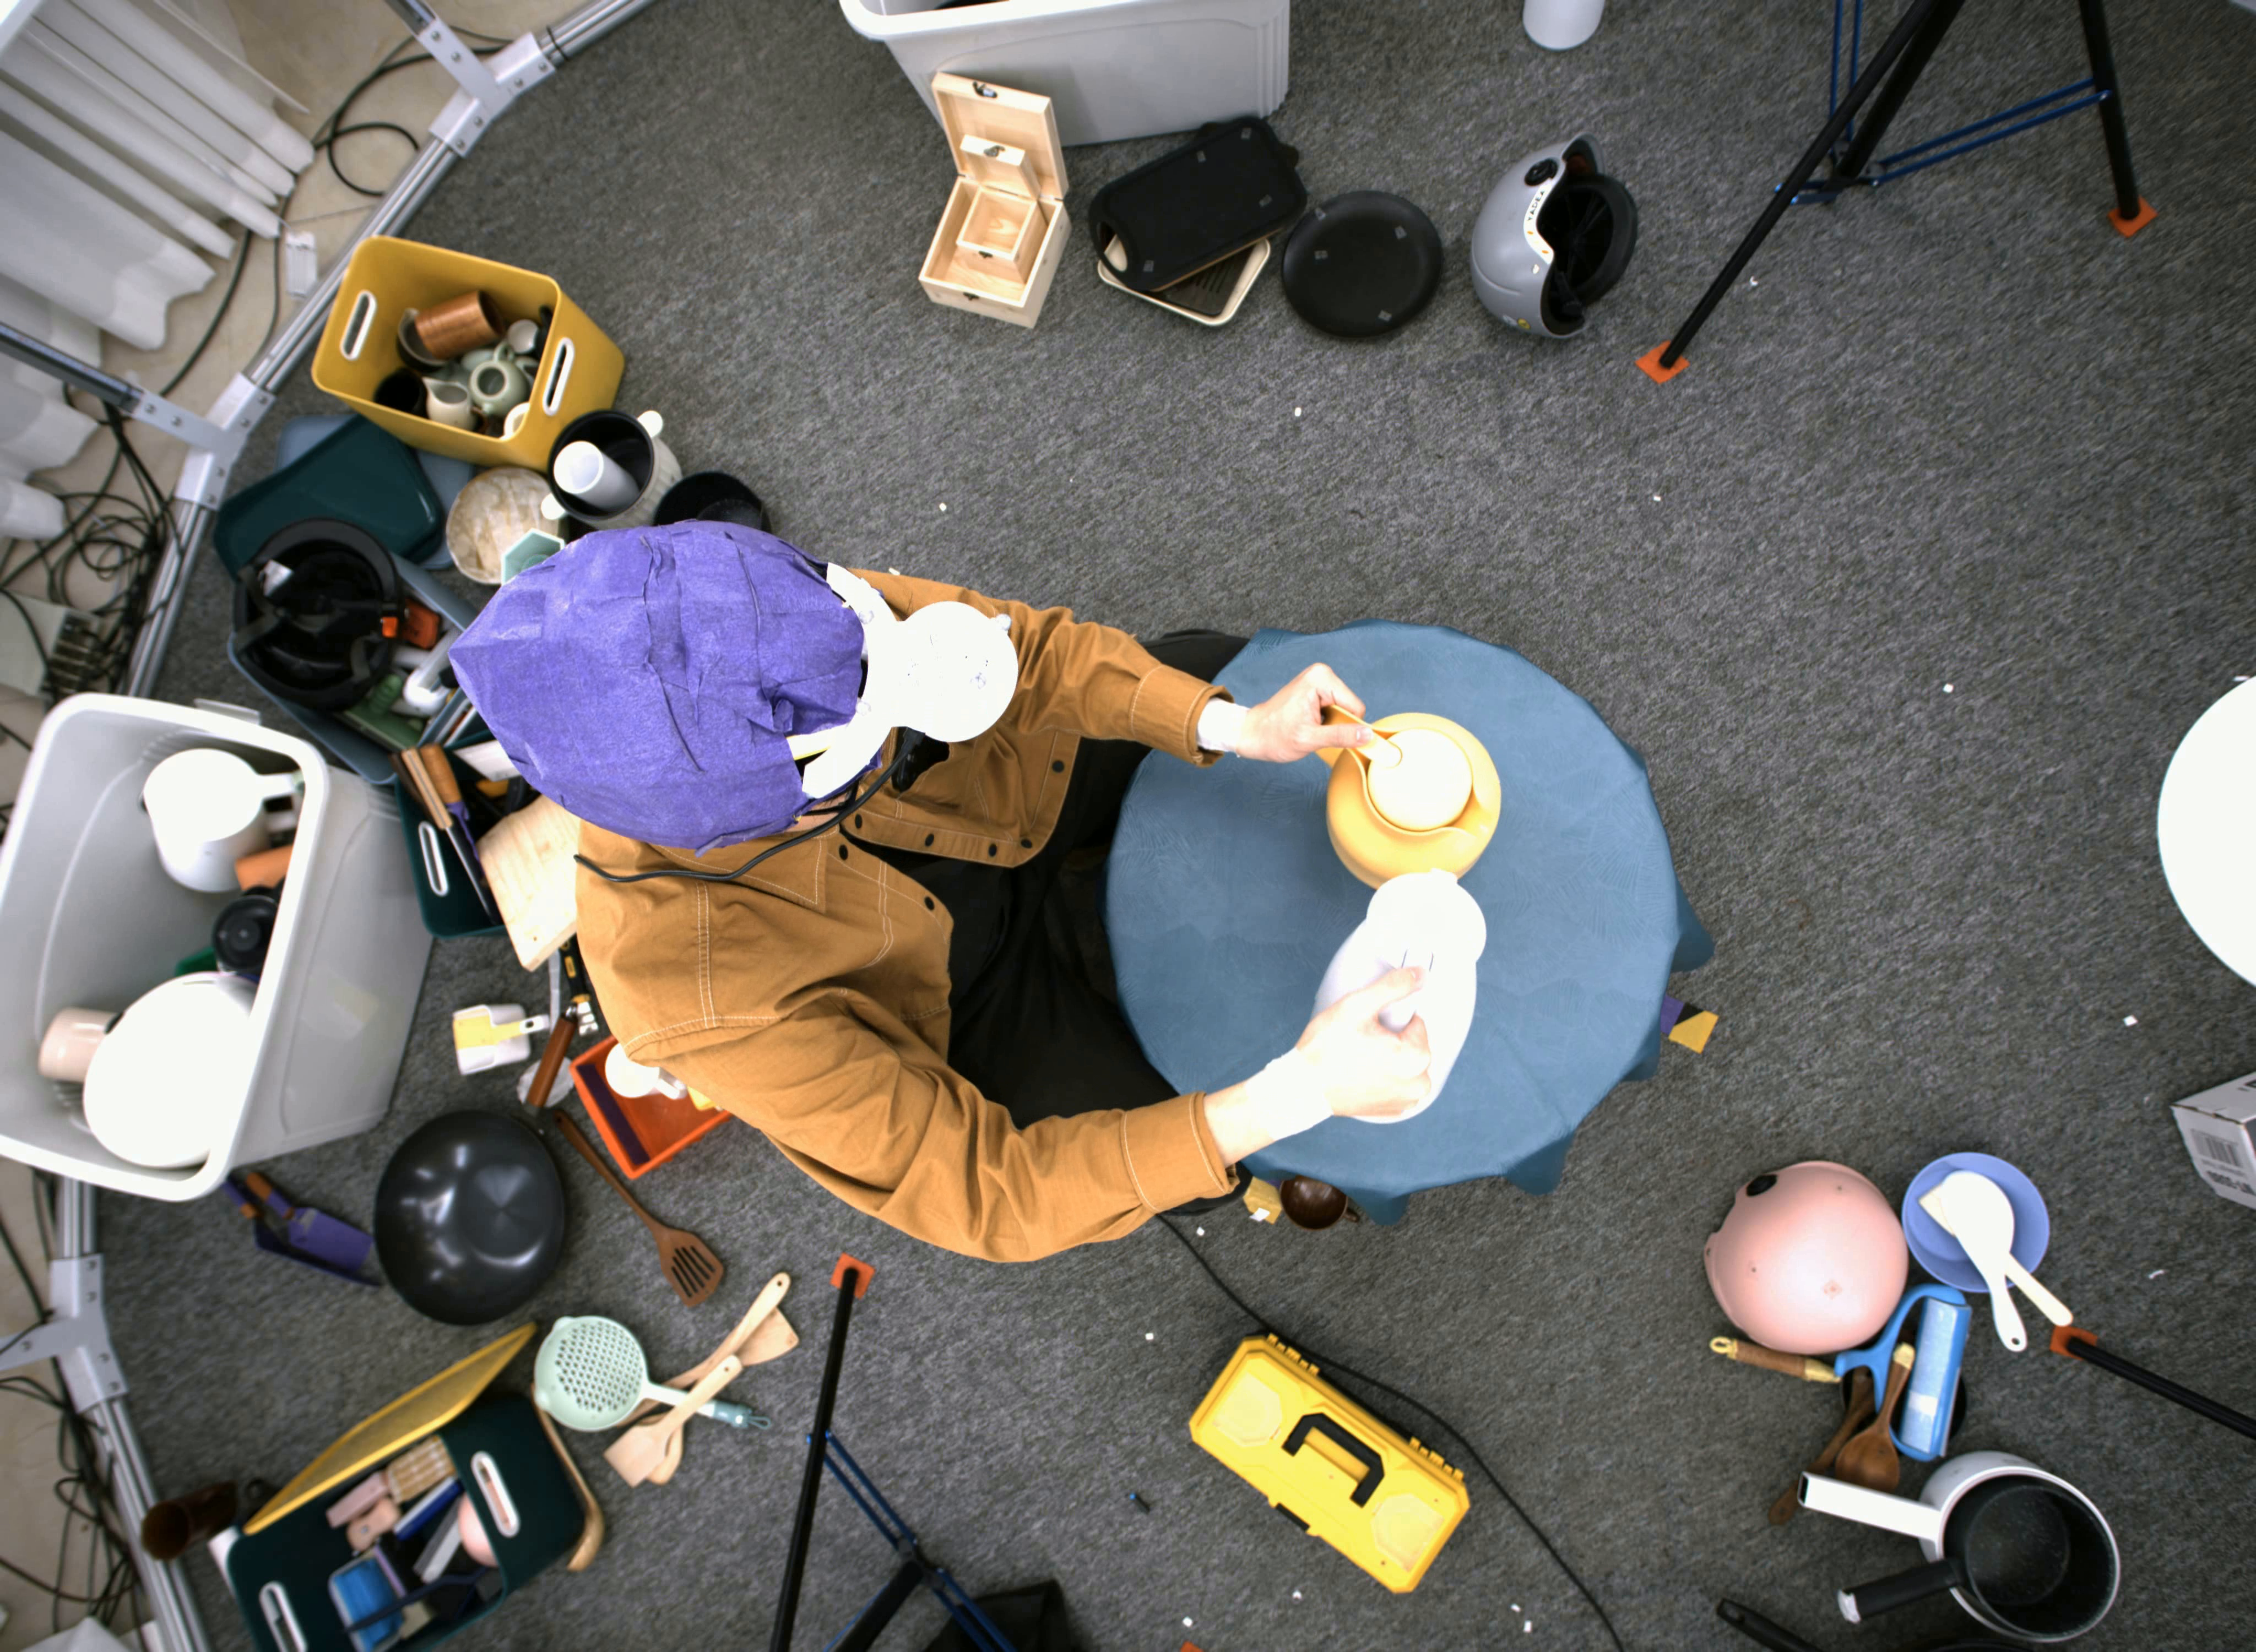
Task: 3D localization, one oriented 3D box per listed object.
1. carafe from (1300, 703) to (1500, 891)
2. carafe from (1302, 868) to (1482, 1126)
[{"bbox_3d":[0.252,-0.037,1.298,0.202,0.261,0.163,39,89,10],"label":"carafe"},{"bbox_3d":[0.218,0.154,1.142,0.132,0.254,0.164,19,59,11],"label":"carafe"}]
